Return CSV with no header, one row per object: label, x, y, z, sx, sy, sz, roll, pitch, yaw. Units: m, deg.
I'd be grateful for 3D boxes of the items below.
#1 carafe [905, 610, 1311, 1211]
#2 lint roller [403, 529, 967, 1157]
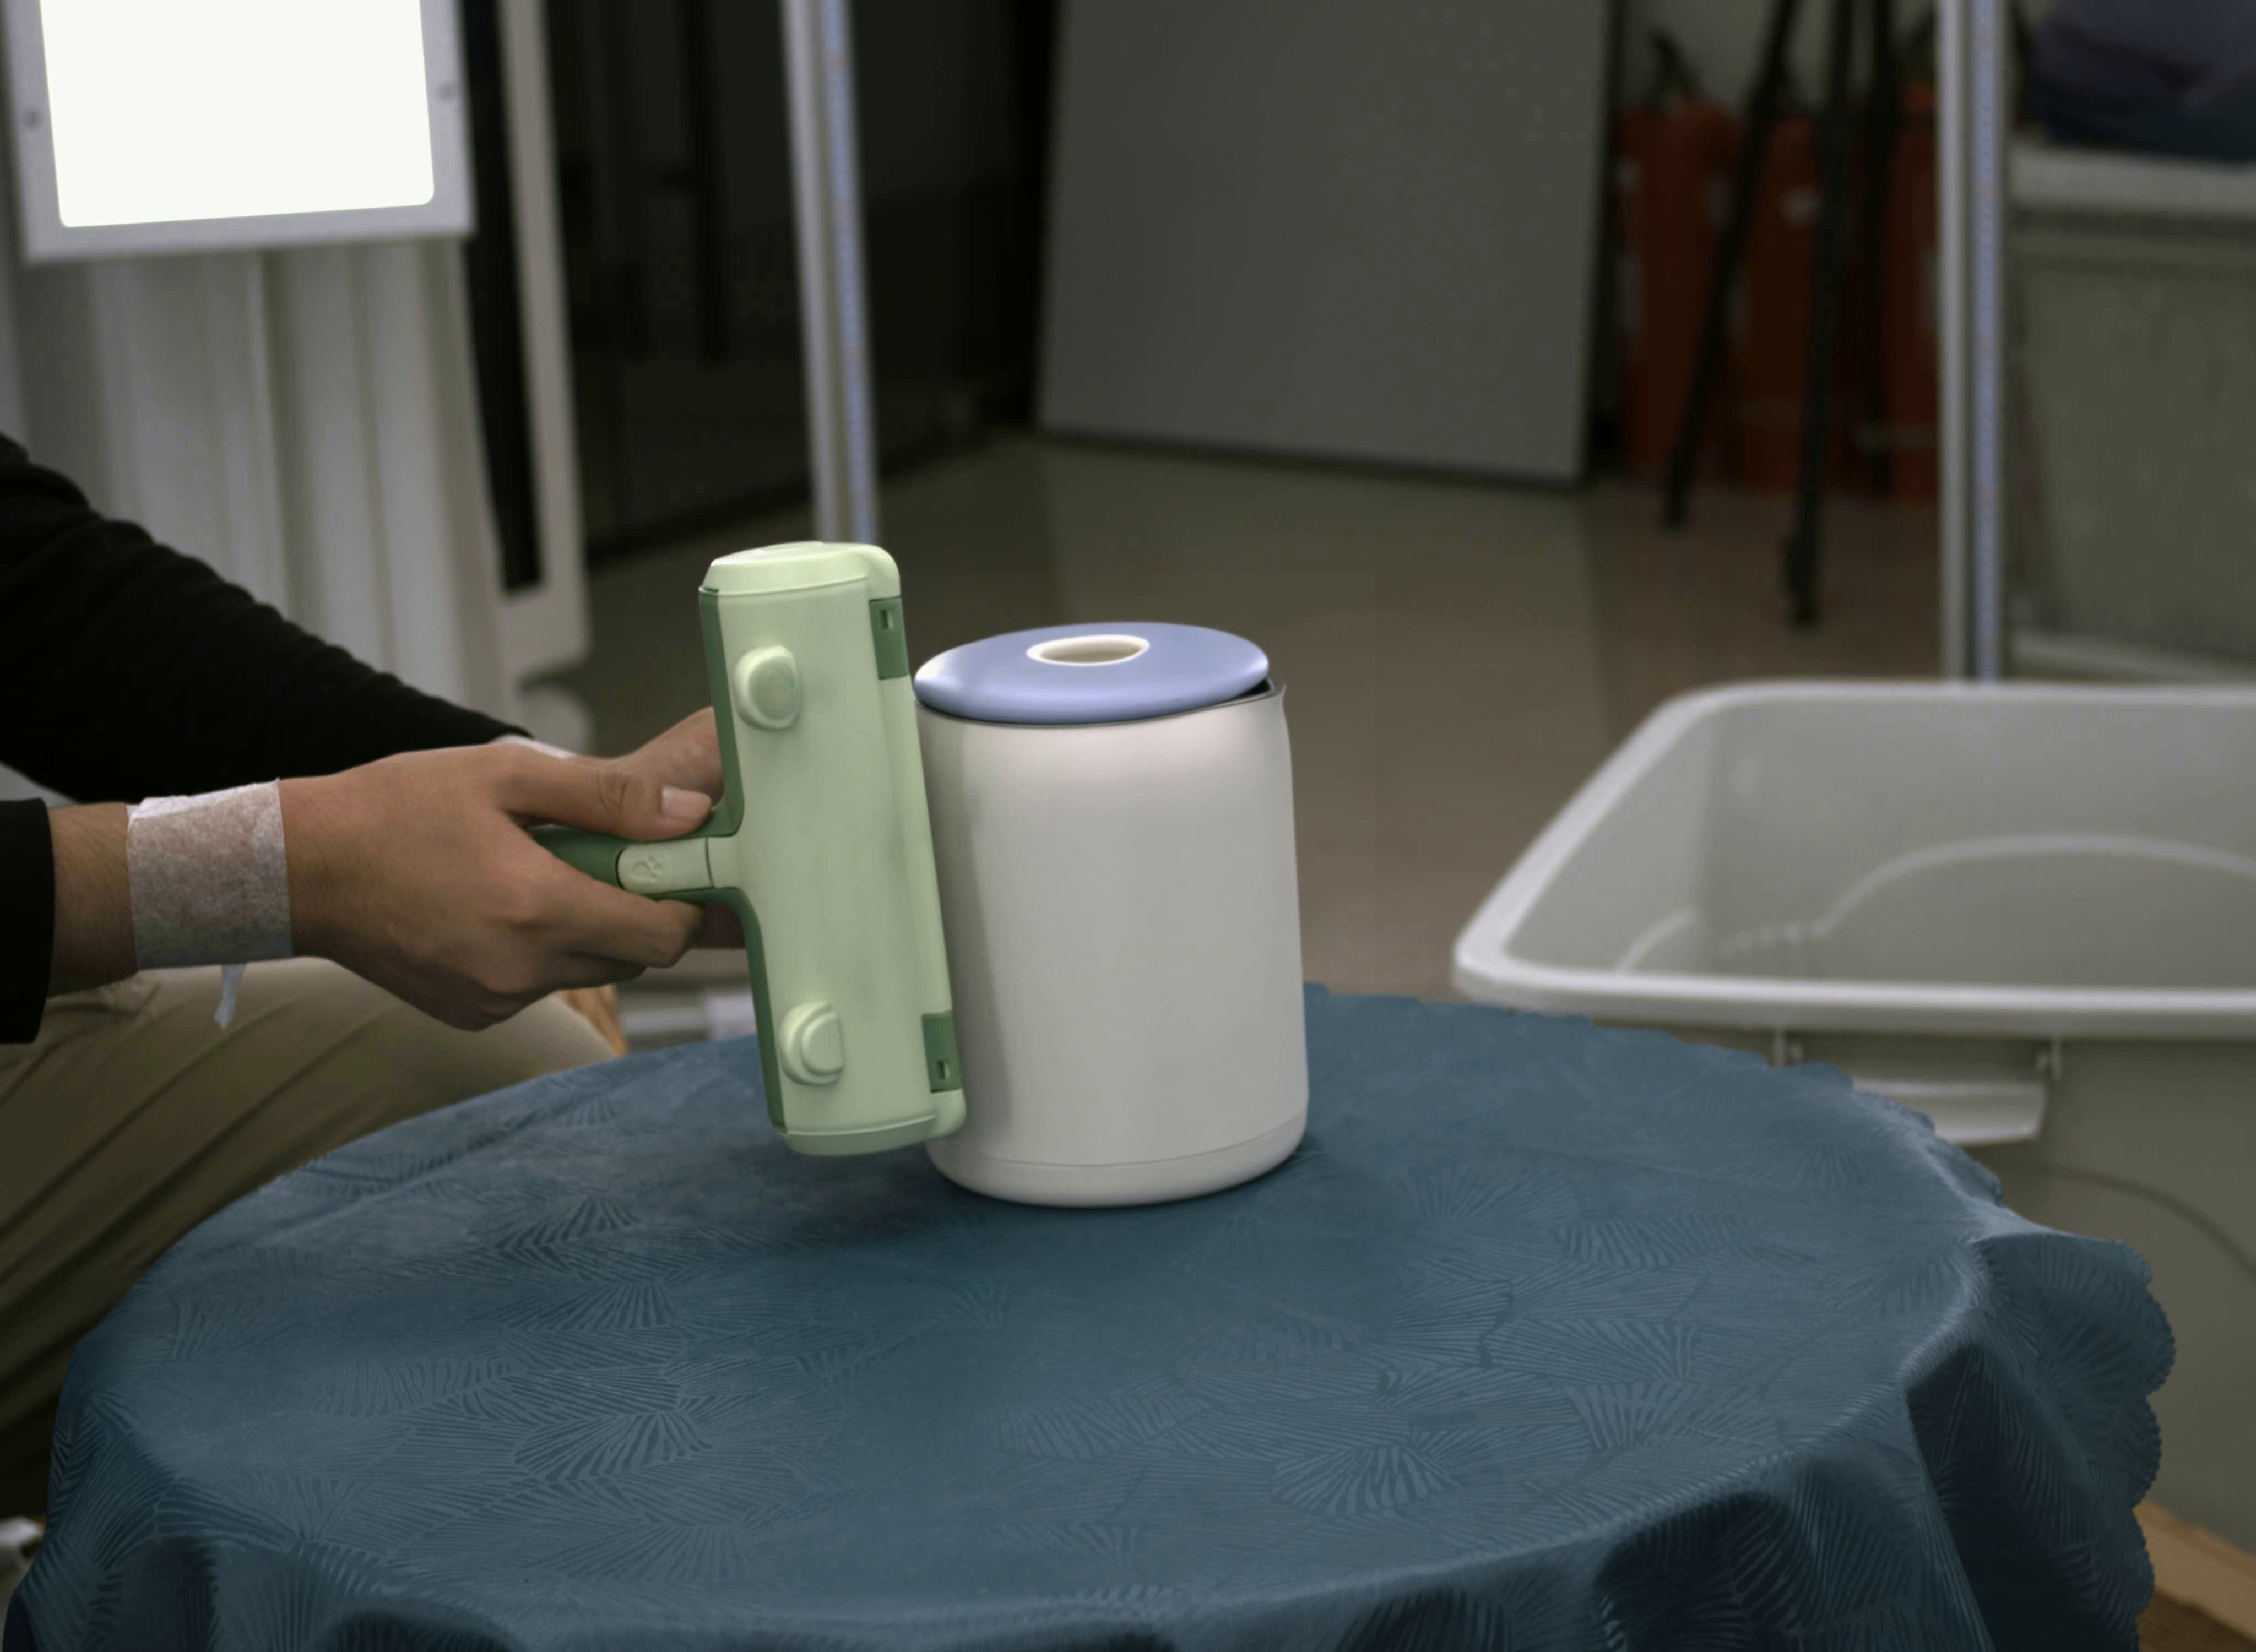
carafe,-0.030,0.027,1.799,0.191,0.184,0.131,-1,13,23
lint roller,-0.151,0.013,1.738,0.182,0.201,0.082,-6,8,8
